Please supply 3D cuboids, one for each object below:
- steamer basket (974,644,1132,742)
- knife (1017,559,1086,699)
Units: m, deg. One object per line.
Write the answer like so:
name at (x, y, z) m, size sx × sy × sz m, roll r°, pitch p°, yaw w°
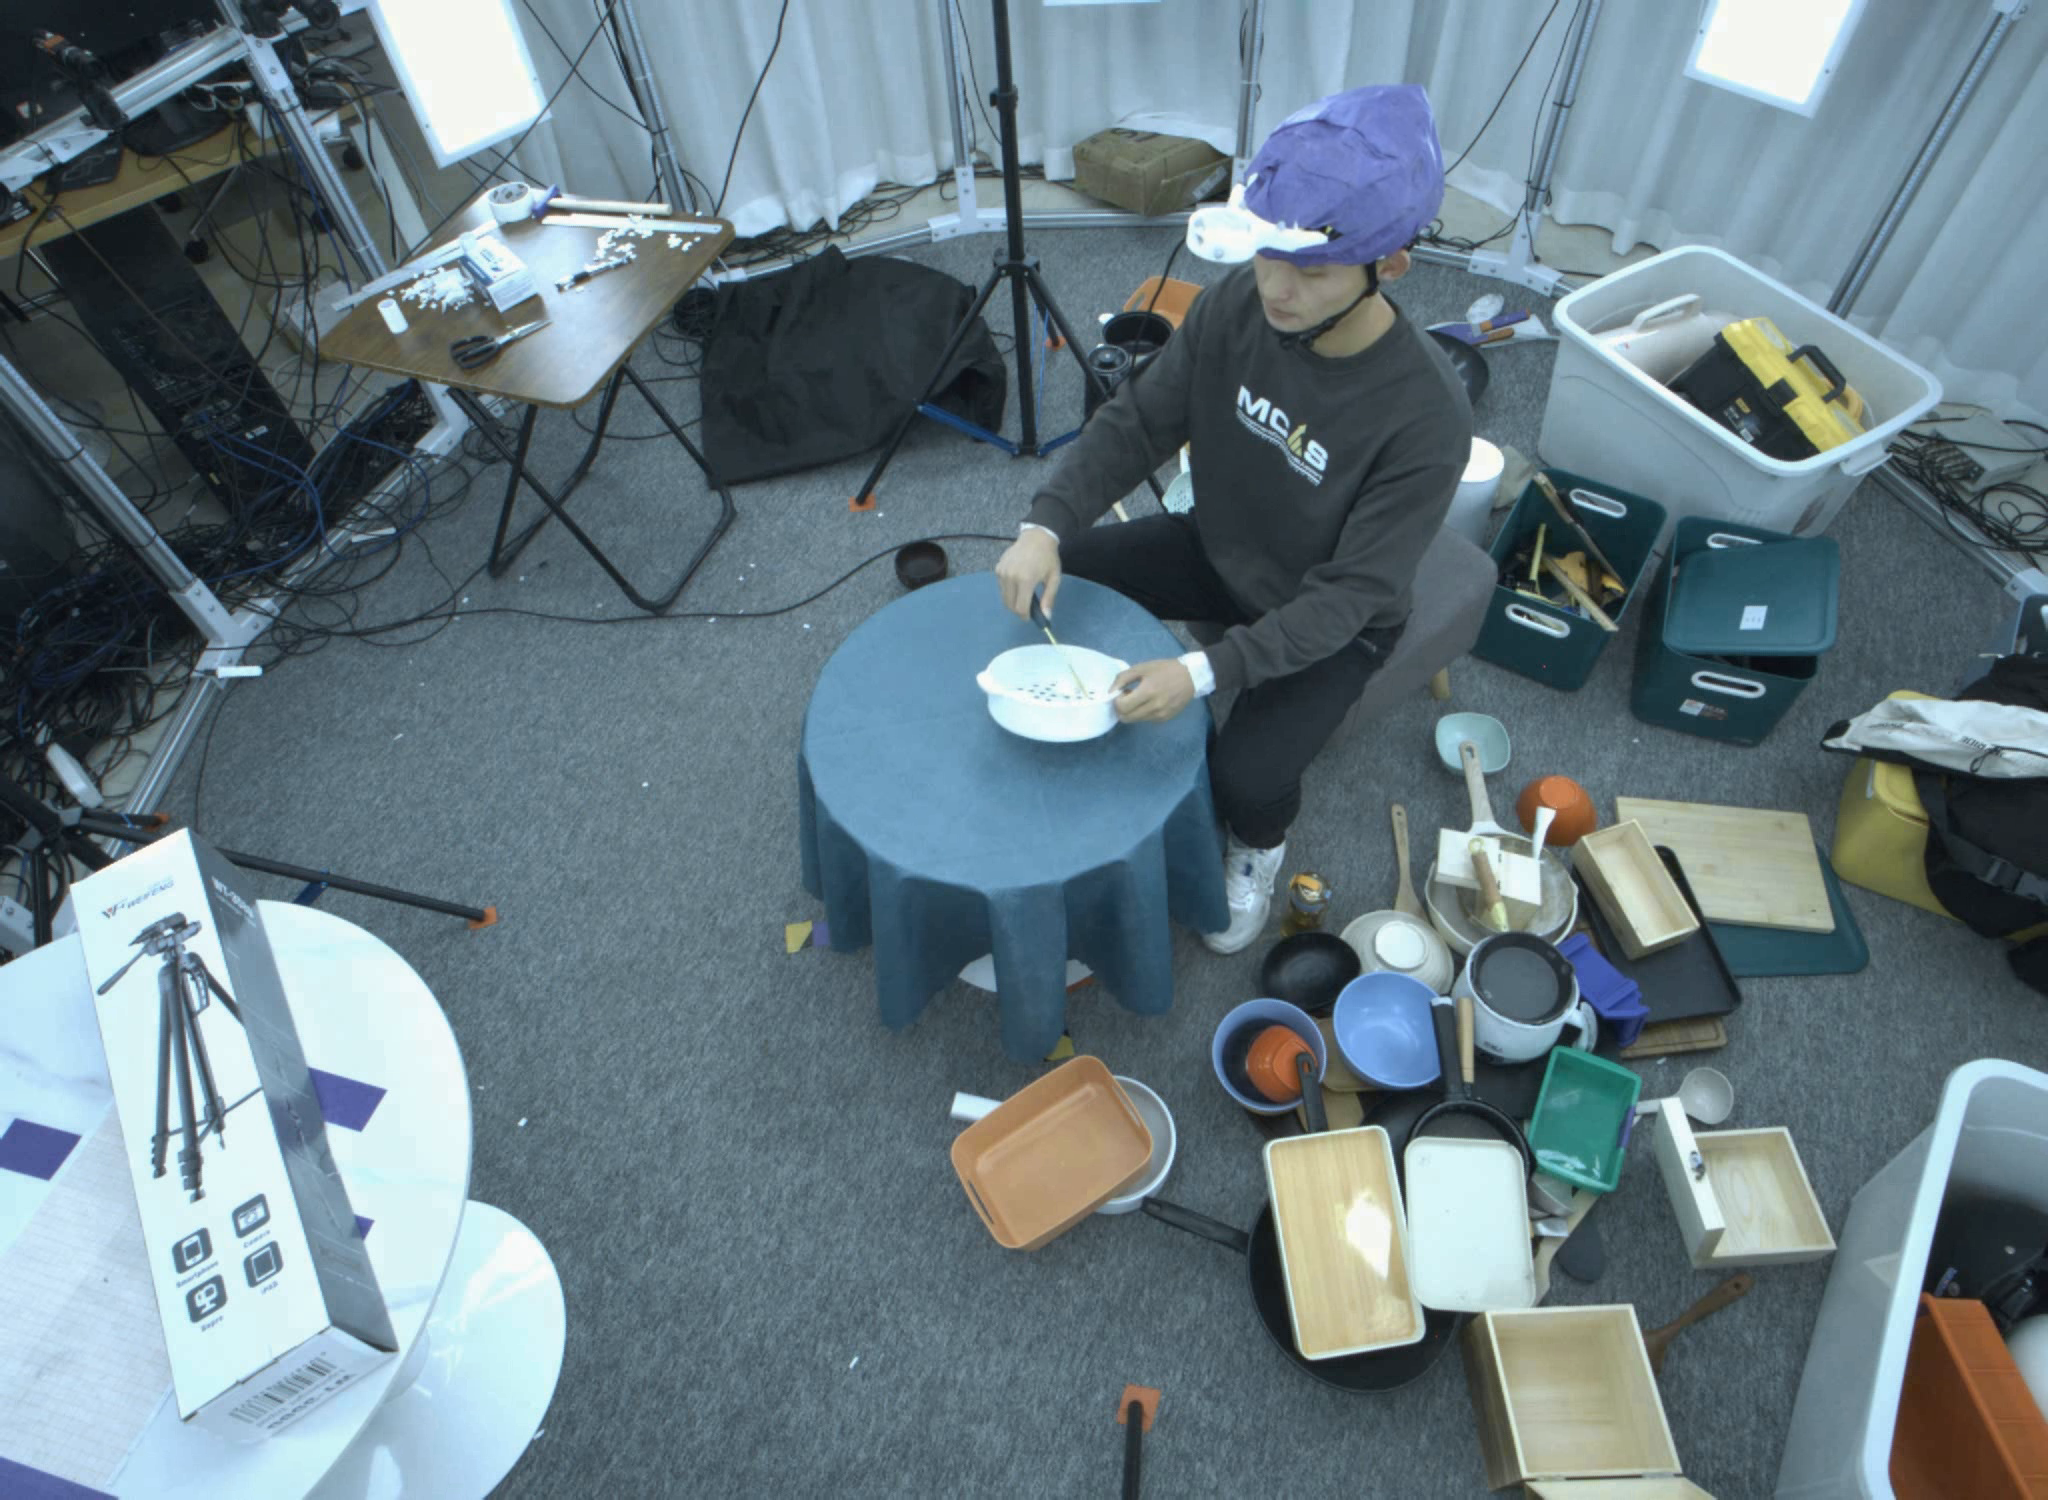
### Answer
steamer basket at (0.041, -0.082, 1.771) m, size 0.234 × 0.069 × 0.198 m, roll -5°, pitch 31°, yaw -19°
knife at (0.049, -0.159, 1.791) m, size 0.027 × 0.082 × 0.285 m, roll -23°, pitch 67°, yaw 1°
